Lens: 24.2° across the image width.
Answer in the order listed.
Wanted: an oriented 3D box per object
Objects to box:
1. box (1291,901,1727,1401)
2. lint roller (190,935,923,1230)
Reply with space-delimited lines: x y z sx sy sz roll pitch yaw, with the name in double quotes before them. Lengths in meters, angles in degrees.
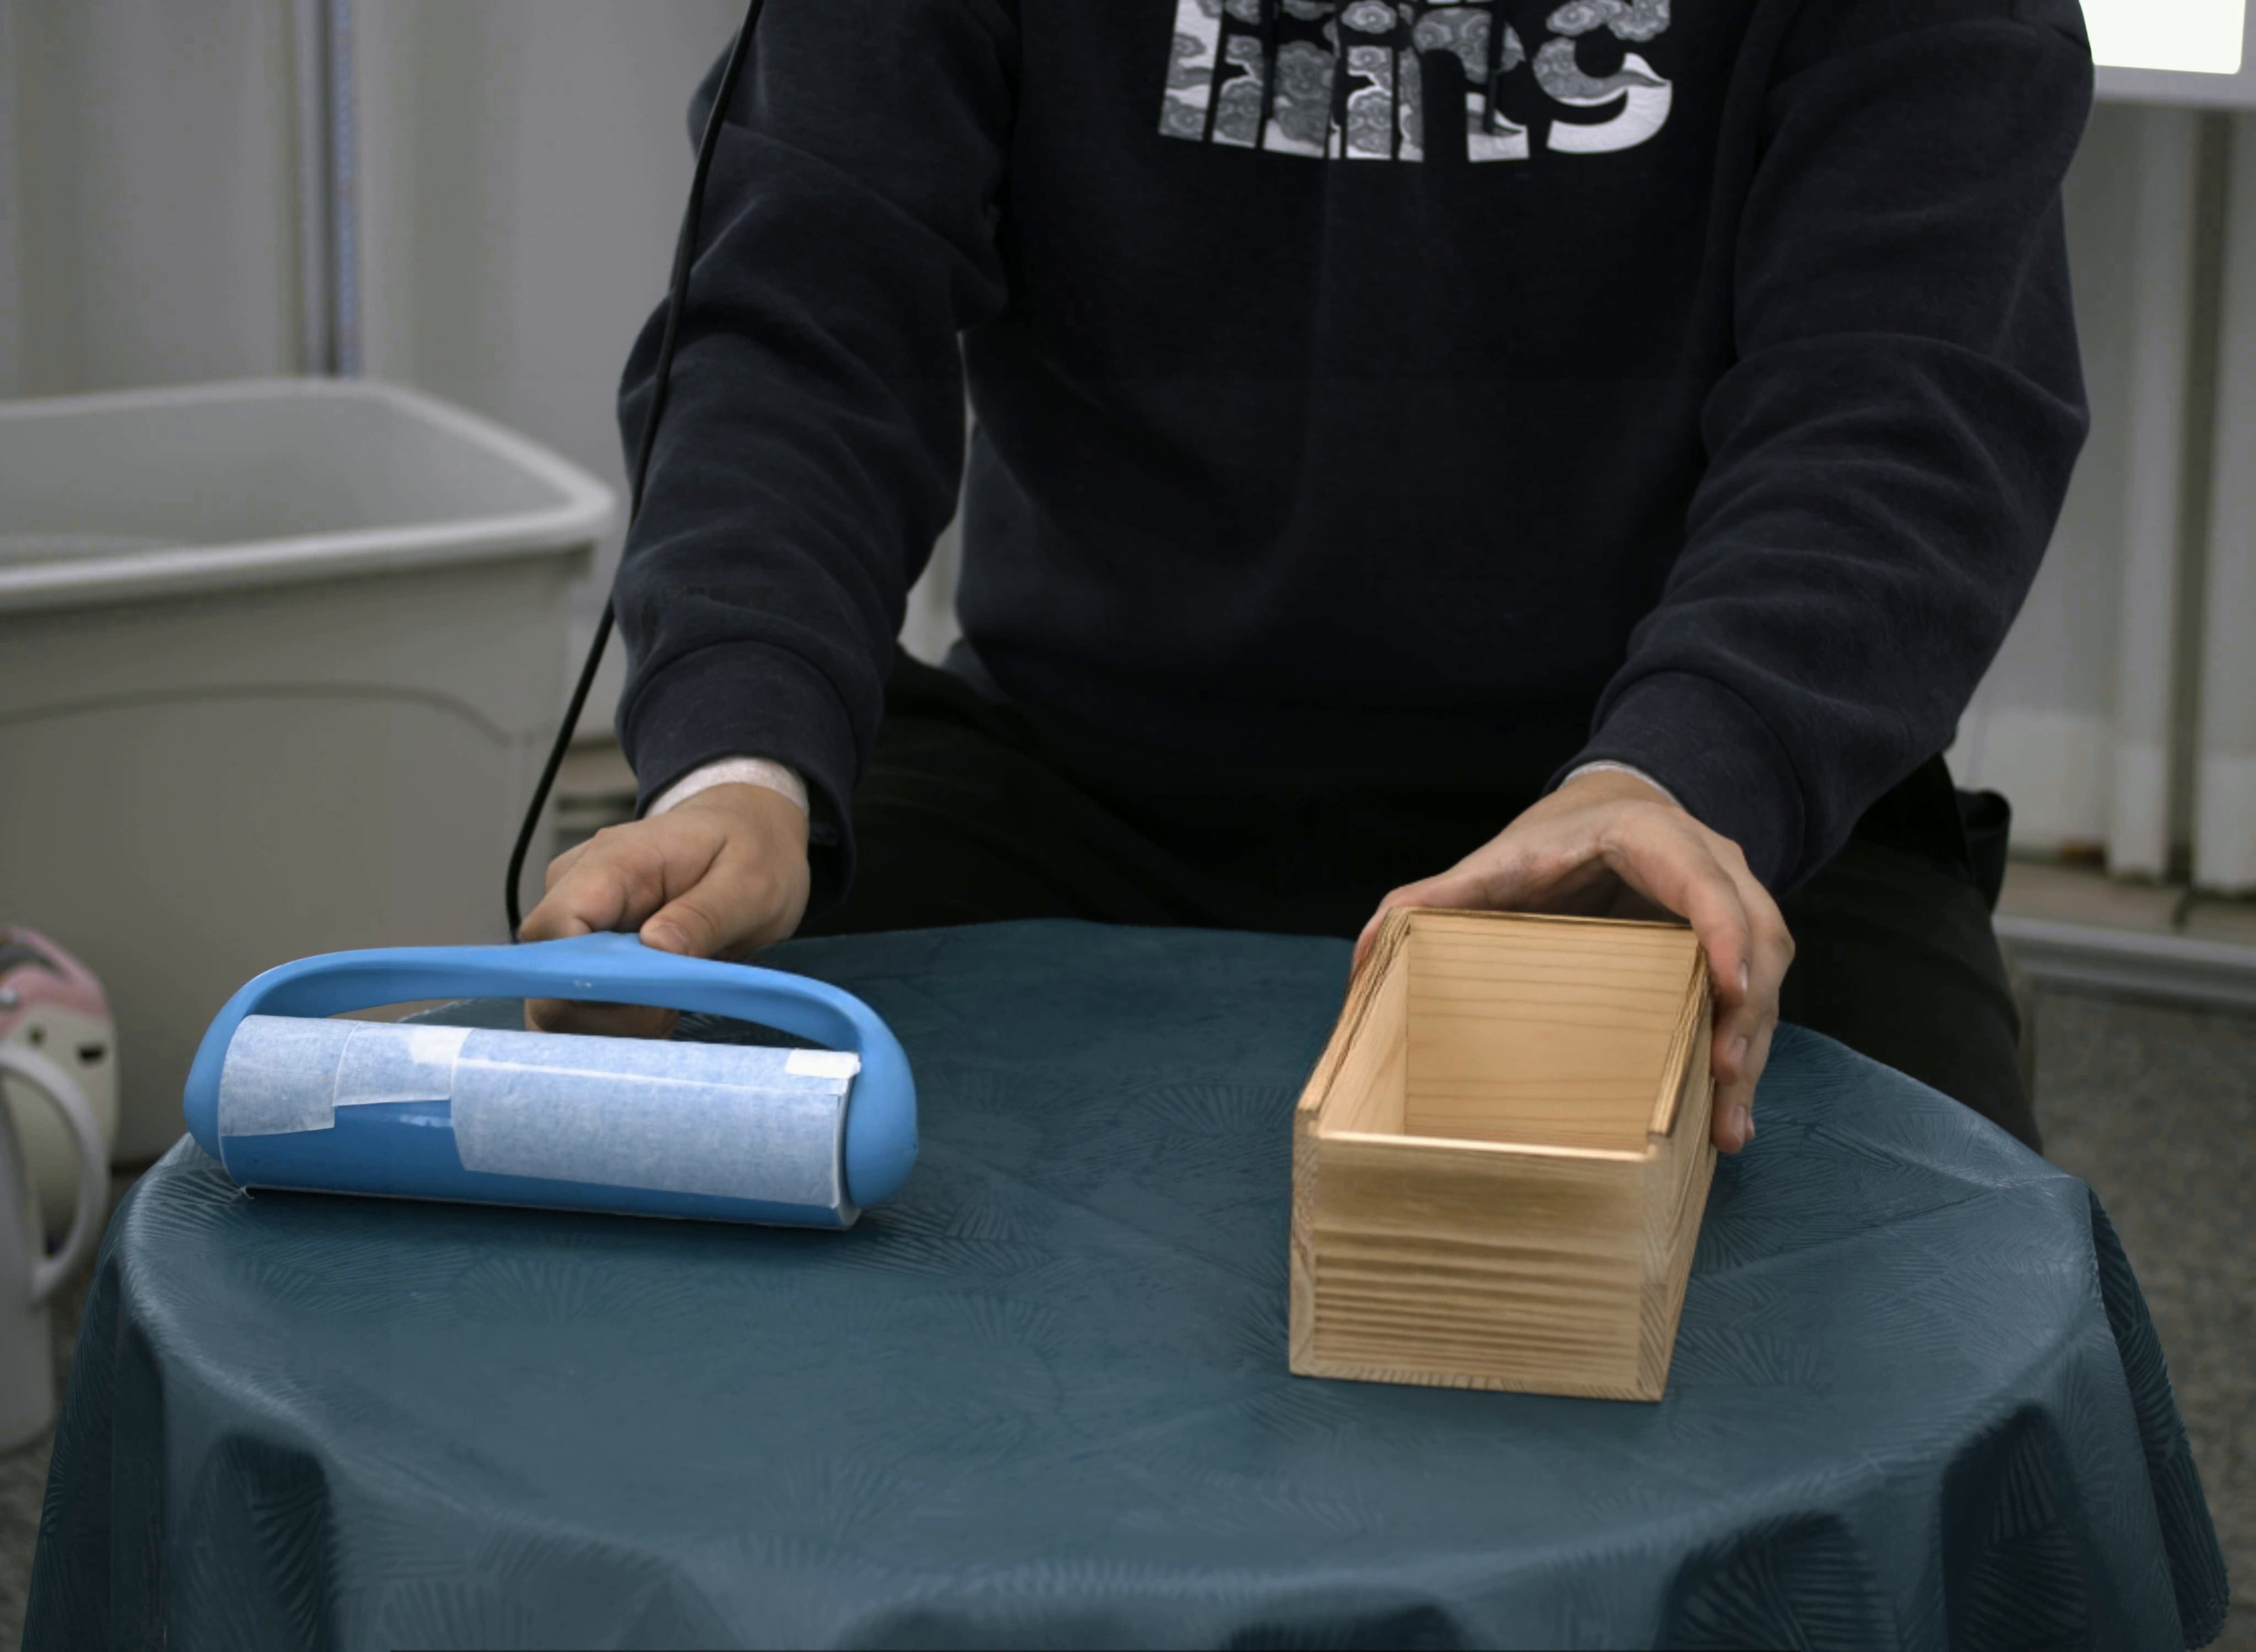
"box" 0.116 0.092 1.557 0.107 0.081 0.211 4 16 9
"lint roller" -0.166 0.066 1.651 0.227 0.068 0.179 0 24 9
